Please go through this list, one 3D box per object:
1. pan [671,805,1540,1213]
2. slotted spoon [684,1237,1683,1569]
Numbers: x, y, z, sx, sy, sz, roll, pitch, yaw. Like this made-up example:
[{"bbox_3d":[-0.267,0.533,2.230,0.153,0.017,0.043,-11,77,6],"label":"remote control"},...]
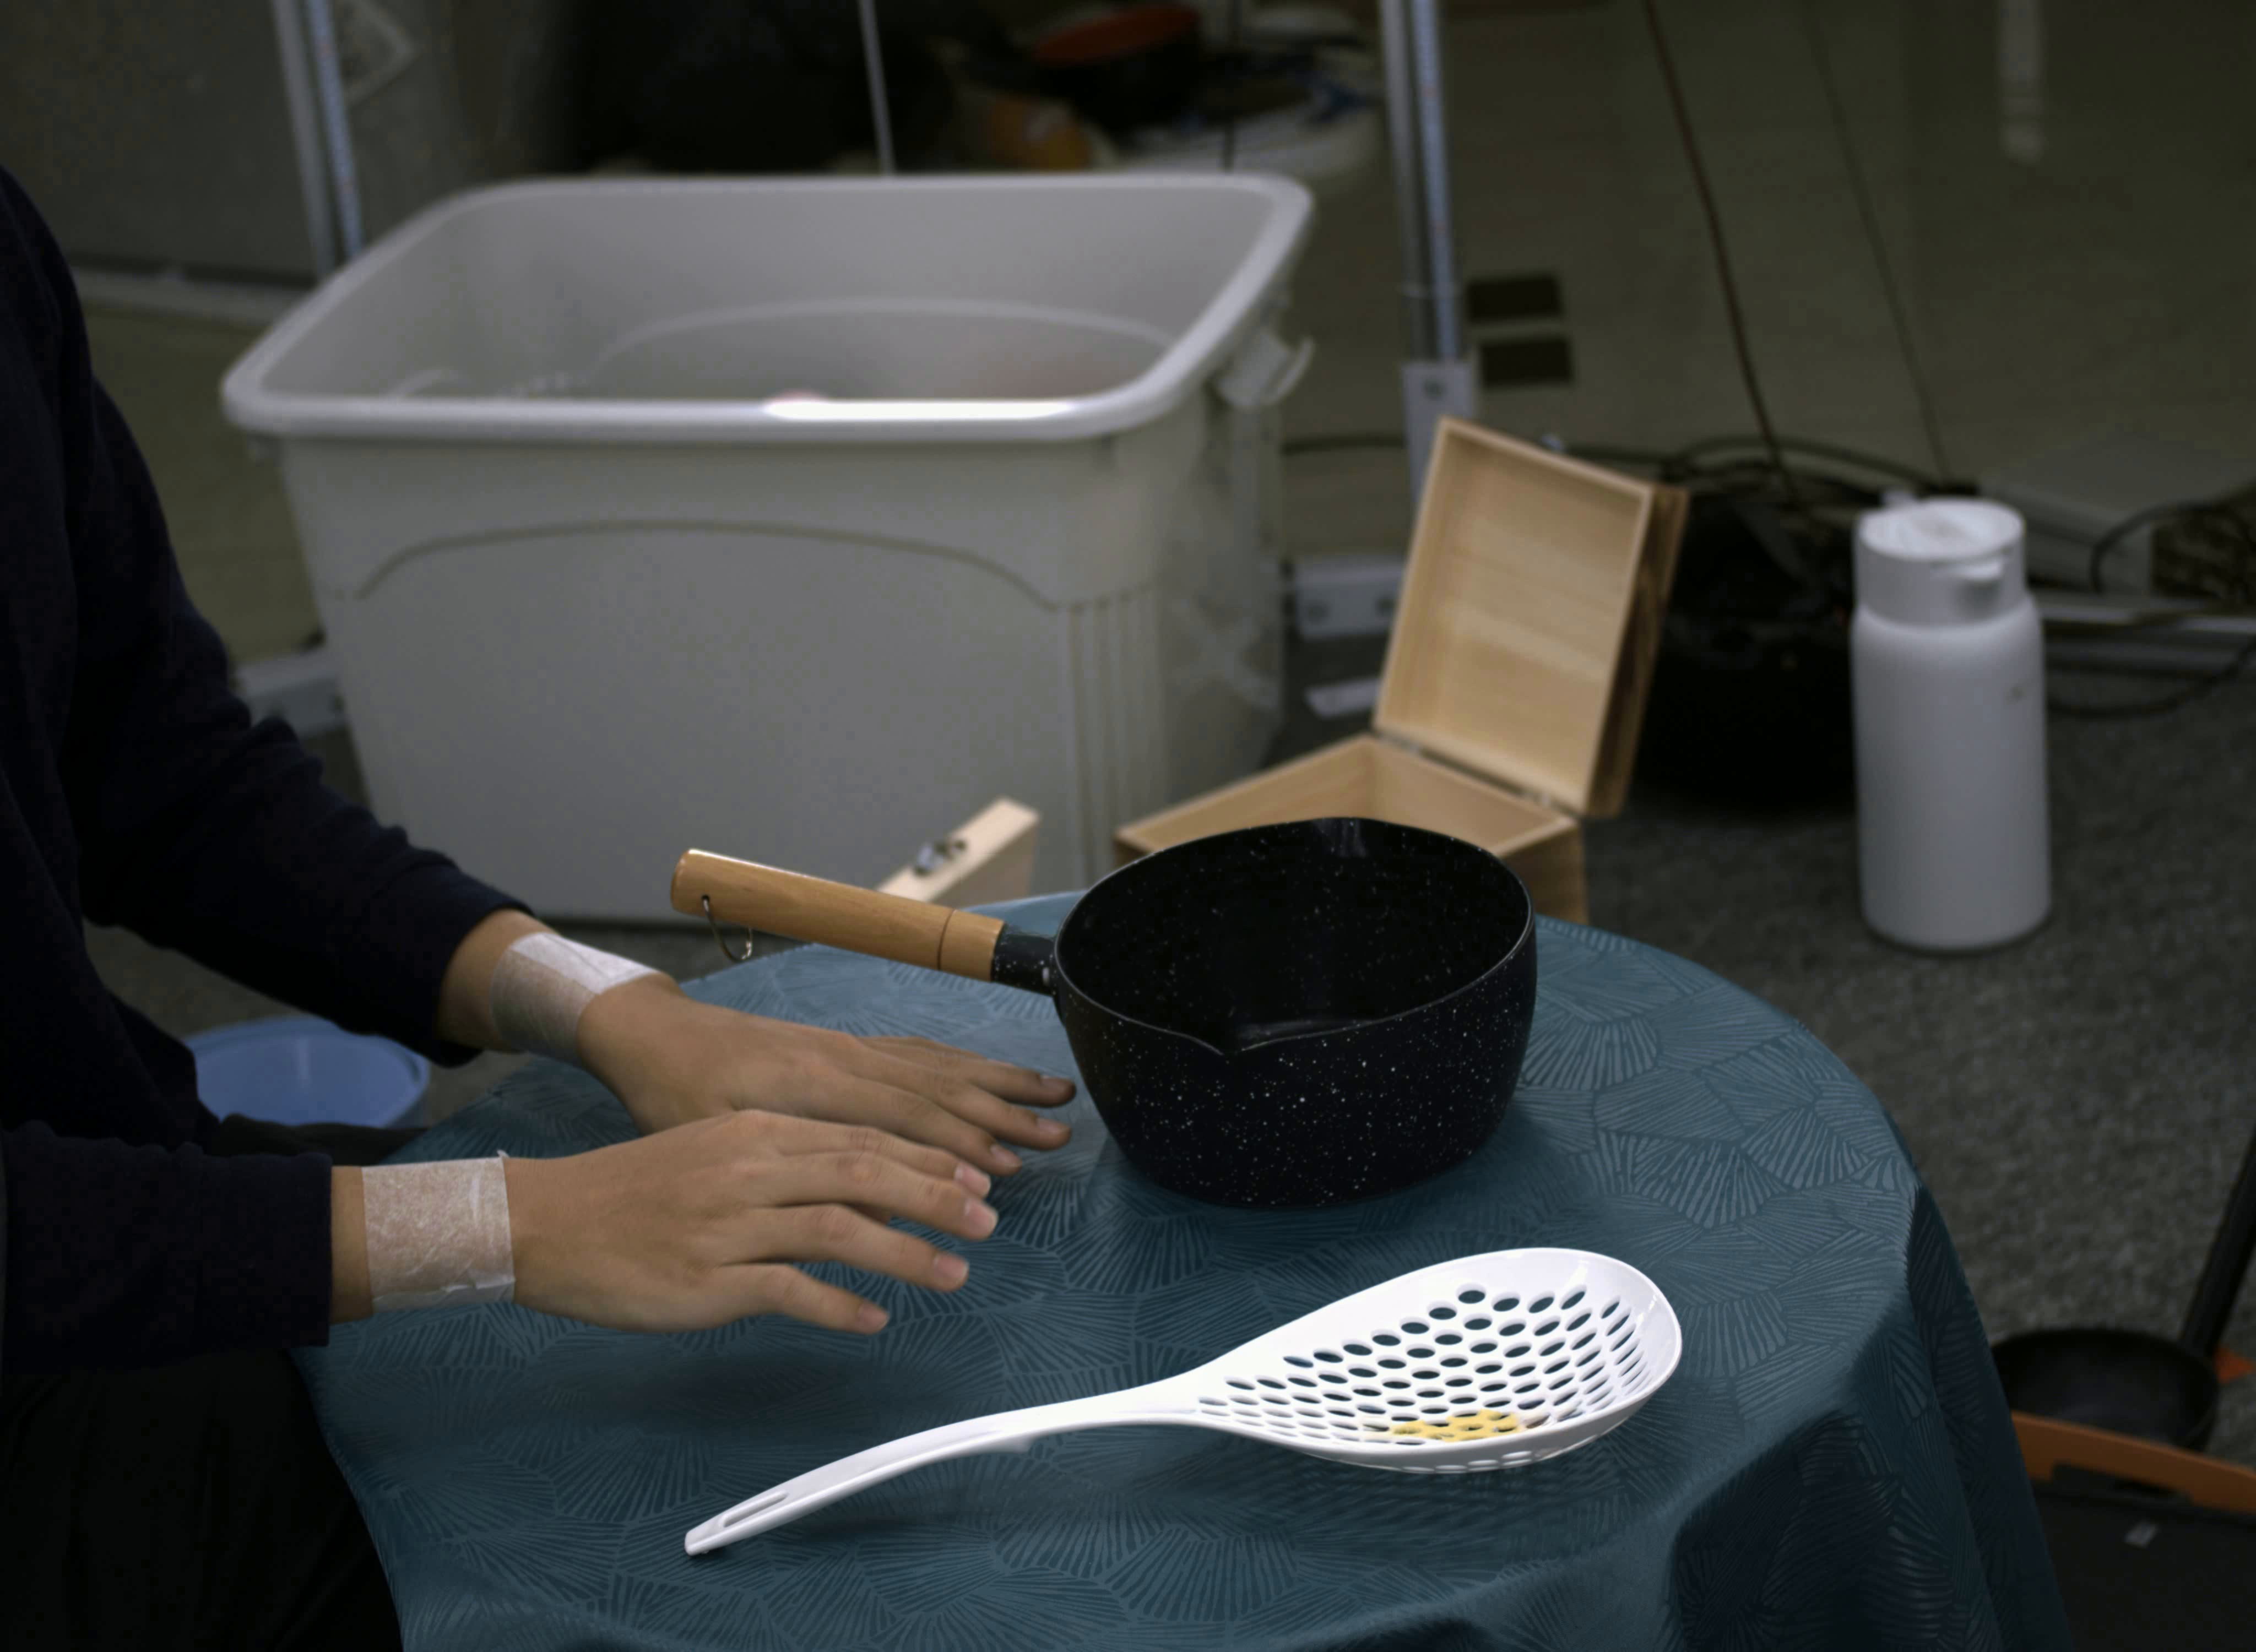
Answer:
[{"bbox_3d":[-0.011,0.063,2.182,0.342,0.110,0.204,2,27,14],"label":"pan"},{"bbox_3d":[0.018,0.207,1.946,0.347,0.051,0.135,-7,24,-4],"label":"slotted spoon"}]
